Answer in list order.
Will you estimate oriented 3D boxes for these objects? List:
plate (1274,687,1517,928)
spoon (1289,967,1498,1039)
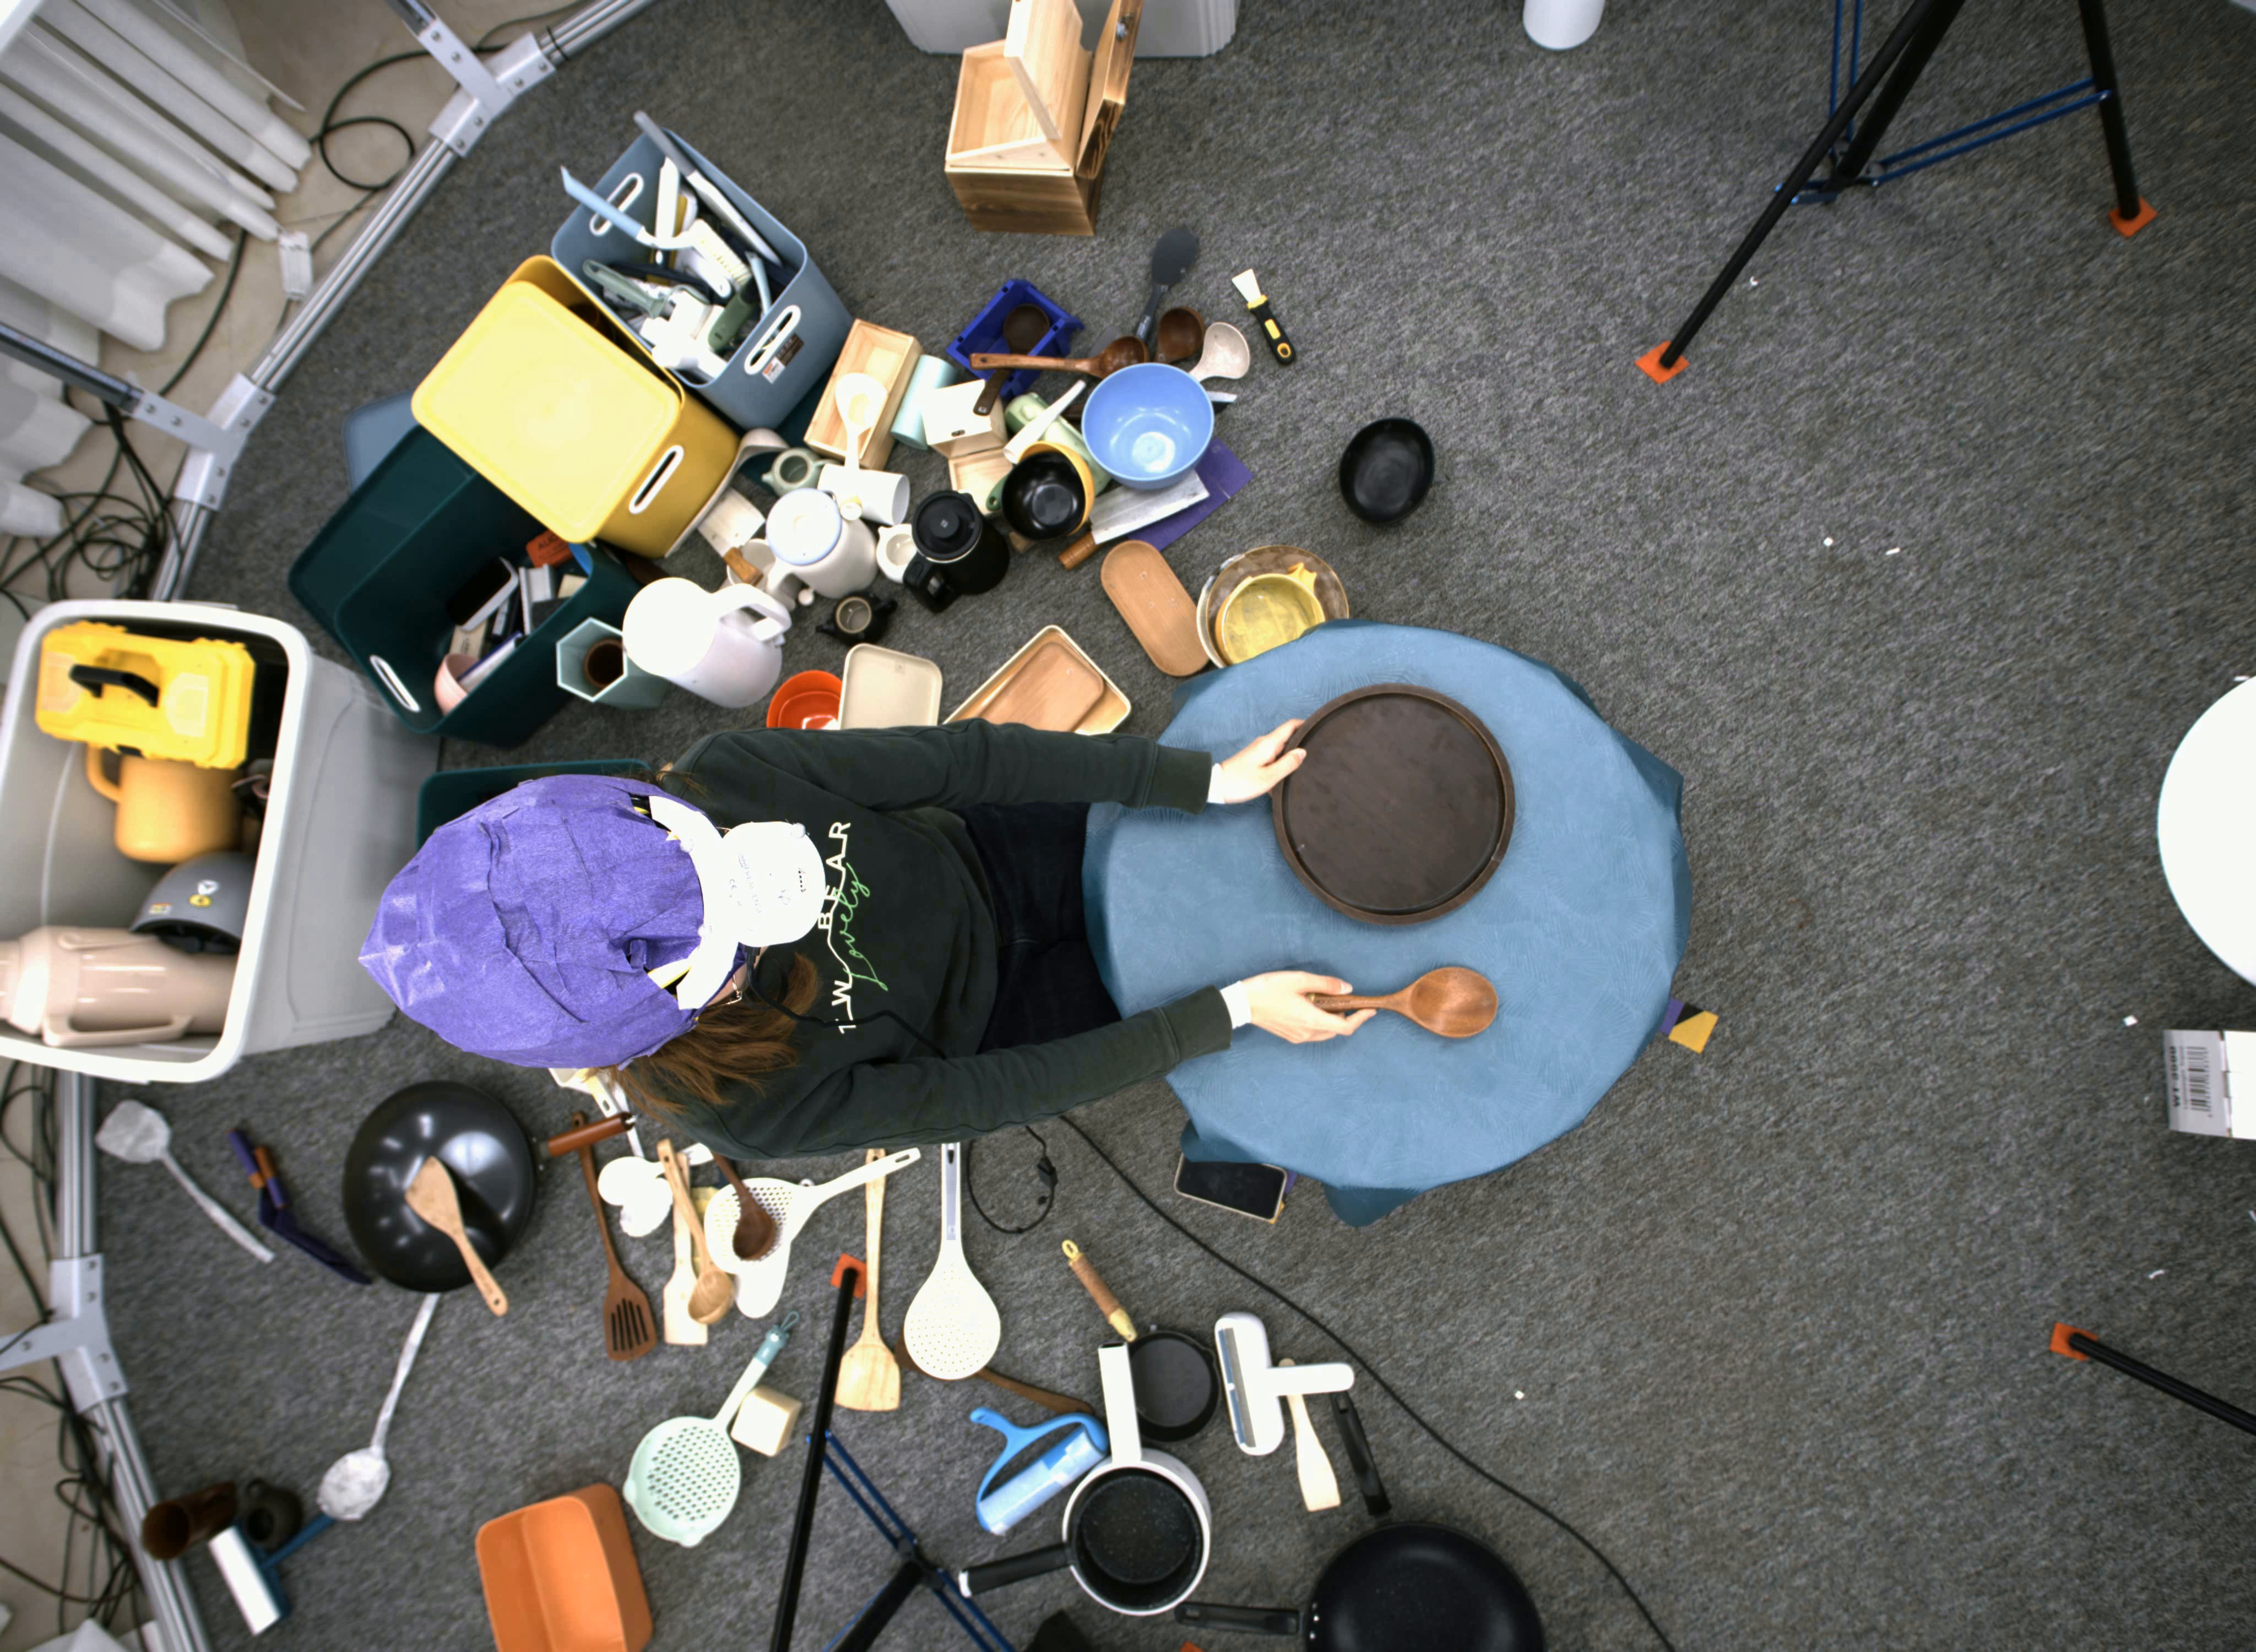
[{"bbox_3d":[0.279,-0.021,1.442,0.255,0.029,0.254,0,90,2],"label":"plate"},{"bbox_3d":[0.275,0.183,1.433,0.216,0.017,0.074,-1,75,1],"label":"spoon"}]
